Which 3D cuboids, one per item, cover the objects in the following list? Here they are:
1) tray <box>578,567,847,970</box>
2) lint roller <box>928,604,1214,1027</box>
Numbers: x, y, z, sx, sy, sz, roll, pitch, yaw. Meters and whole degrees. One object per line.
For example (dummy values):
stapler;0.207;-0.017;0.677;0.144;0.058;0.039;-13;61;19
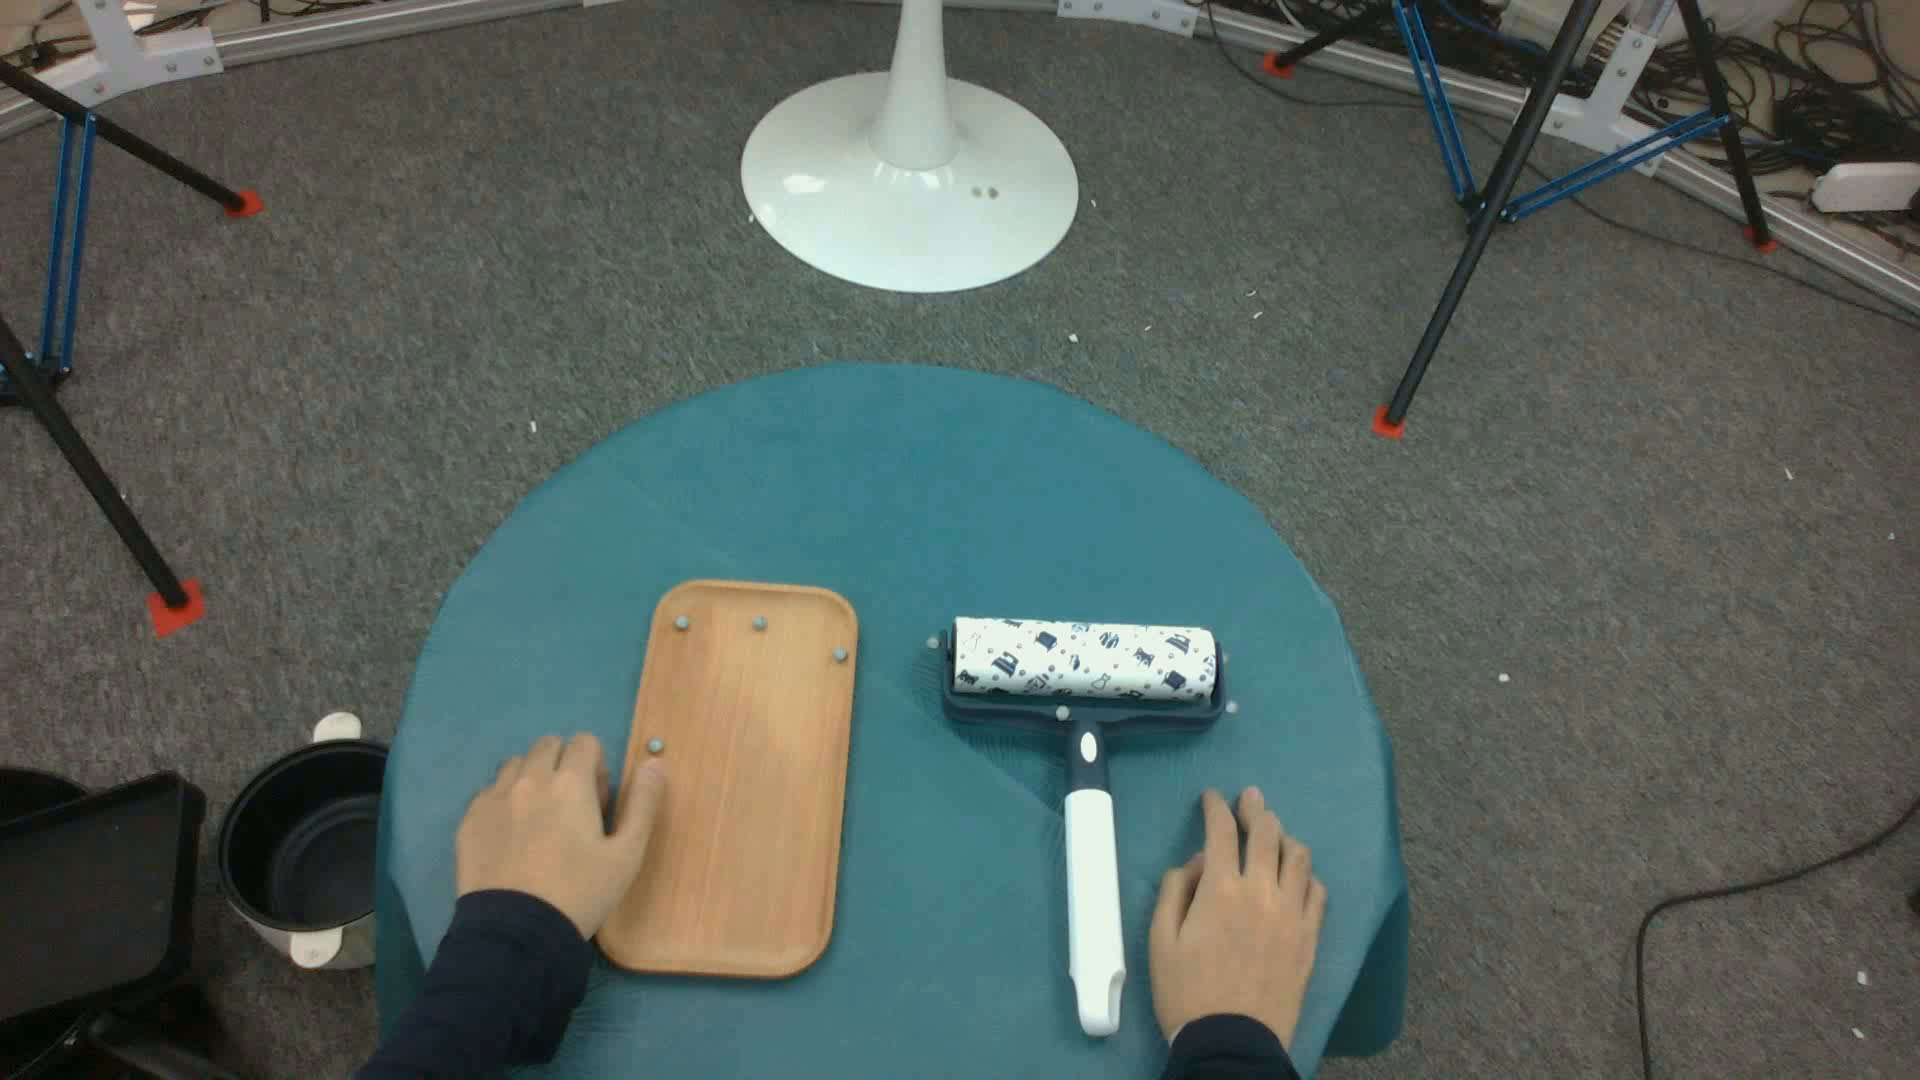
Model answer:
tray;-0.138;0.125;0.804;0.130;0.023;0.252;4;54;-1
lint roller;0.069;0.151;0.797;0.176;0.050;0.248;3;56;-6
